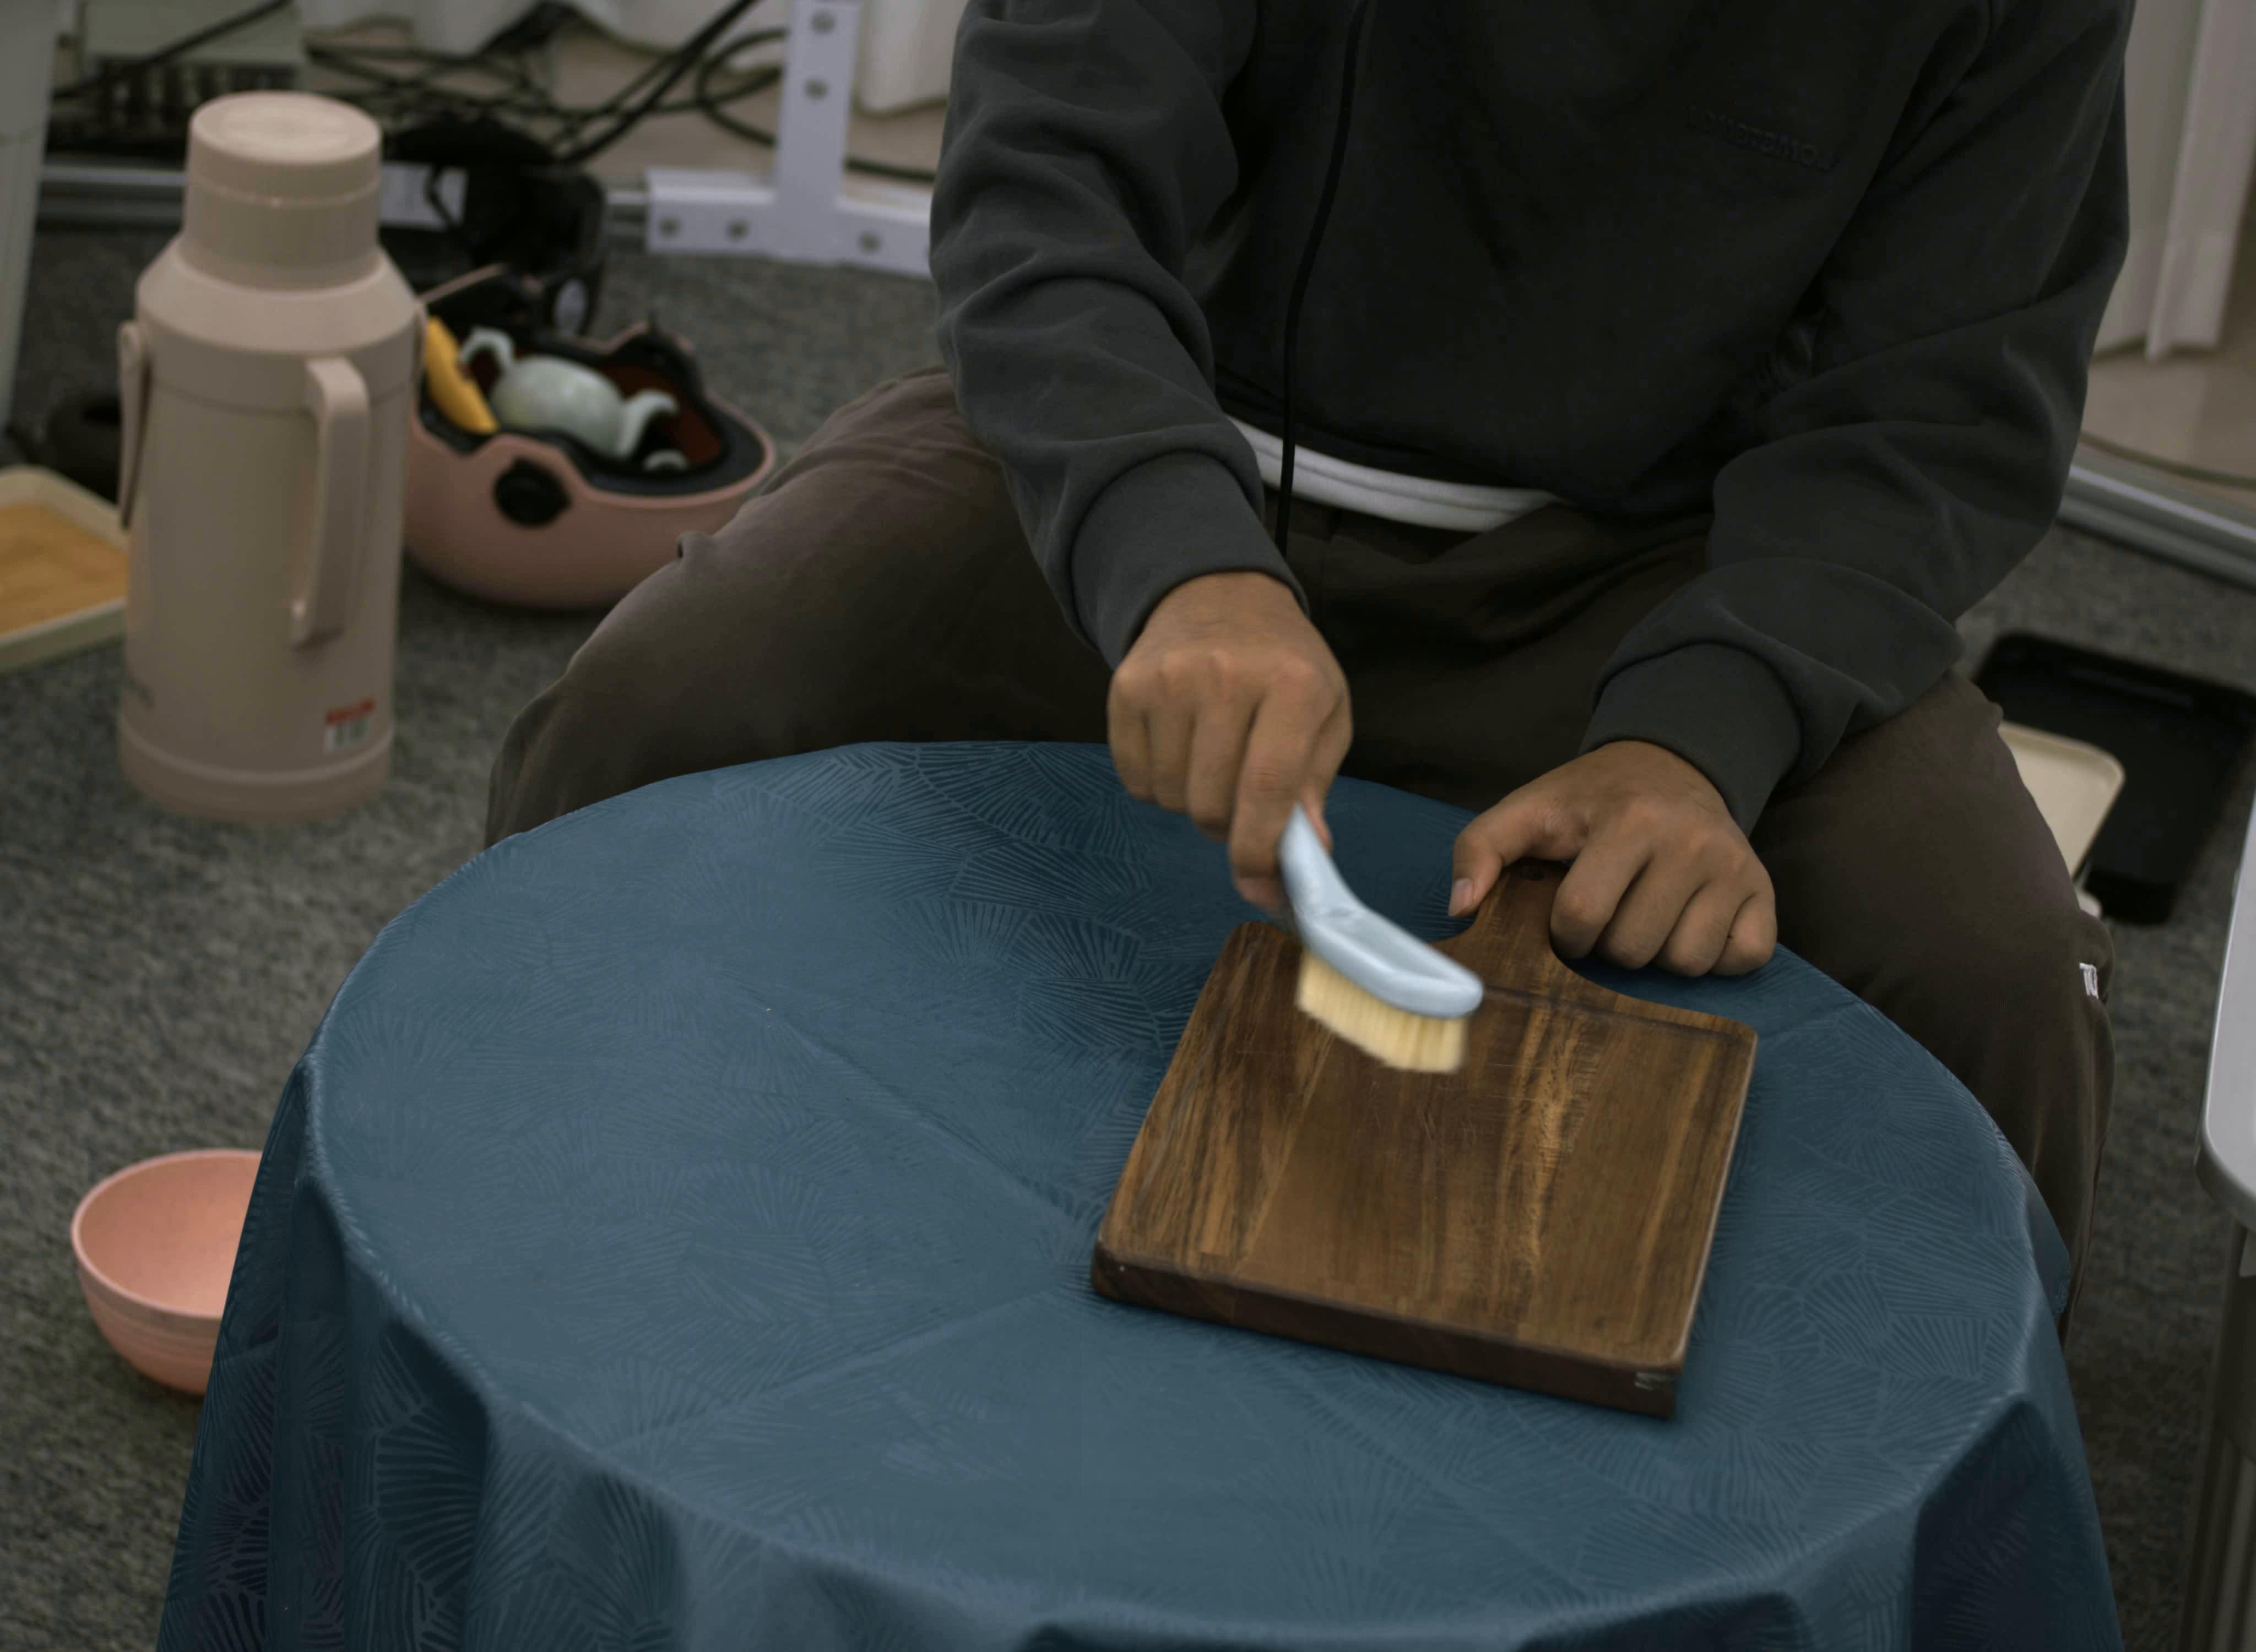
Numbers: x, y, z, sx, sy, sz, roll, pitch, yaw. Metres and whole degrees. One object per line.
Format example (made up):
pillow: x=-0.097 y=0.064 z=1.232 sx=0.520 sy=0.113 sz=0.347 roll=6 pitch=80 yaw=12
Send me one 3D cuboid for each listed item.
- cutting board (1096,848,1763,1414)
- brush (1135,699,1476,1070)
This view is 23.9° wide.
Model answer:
cutting board: x=0.120 y=0.091 z=1.876 sx=0.201 sy=0.023 sz=0.353 roll=12 pitch=27 yaw=9
brush: x=0.055 y=0.018 z=1.866 sx=0.037 sy=0.049 sz=0.231 roll=1 pitch=30 yaw=-29
